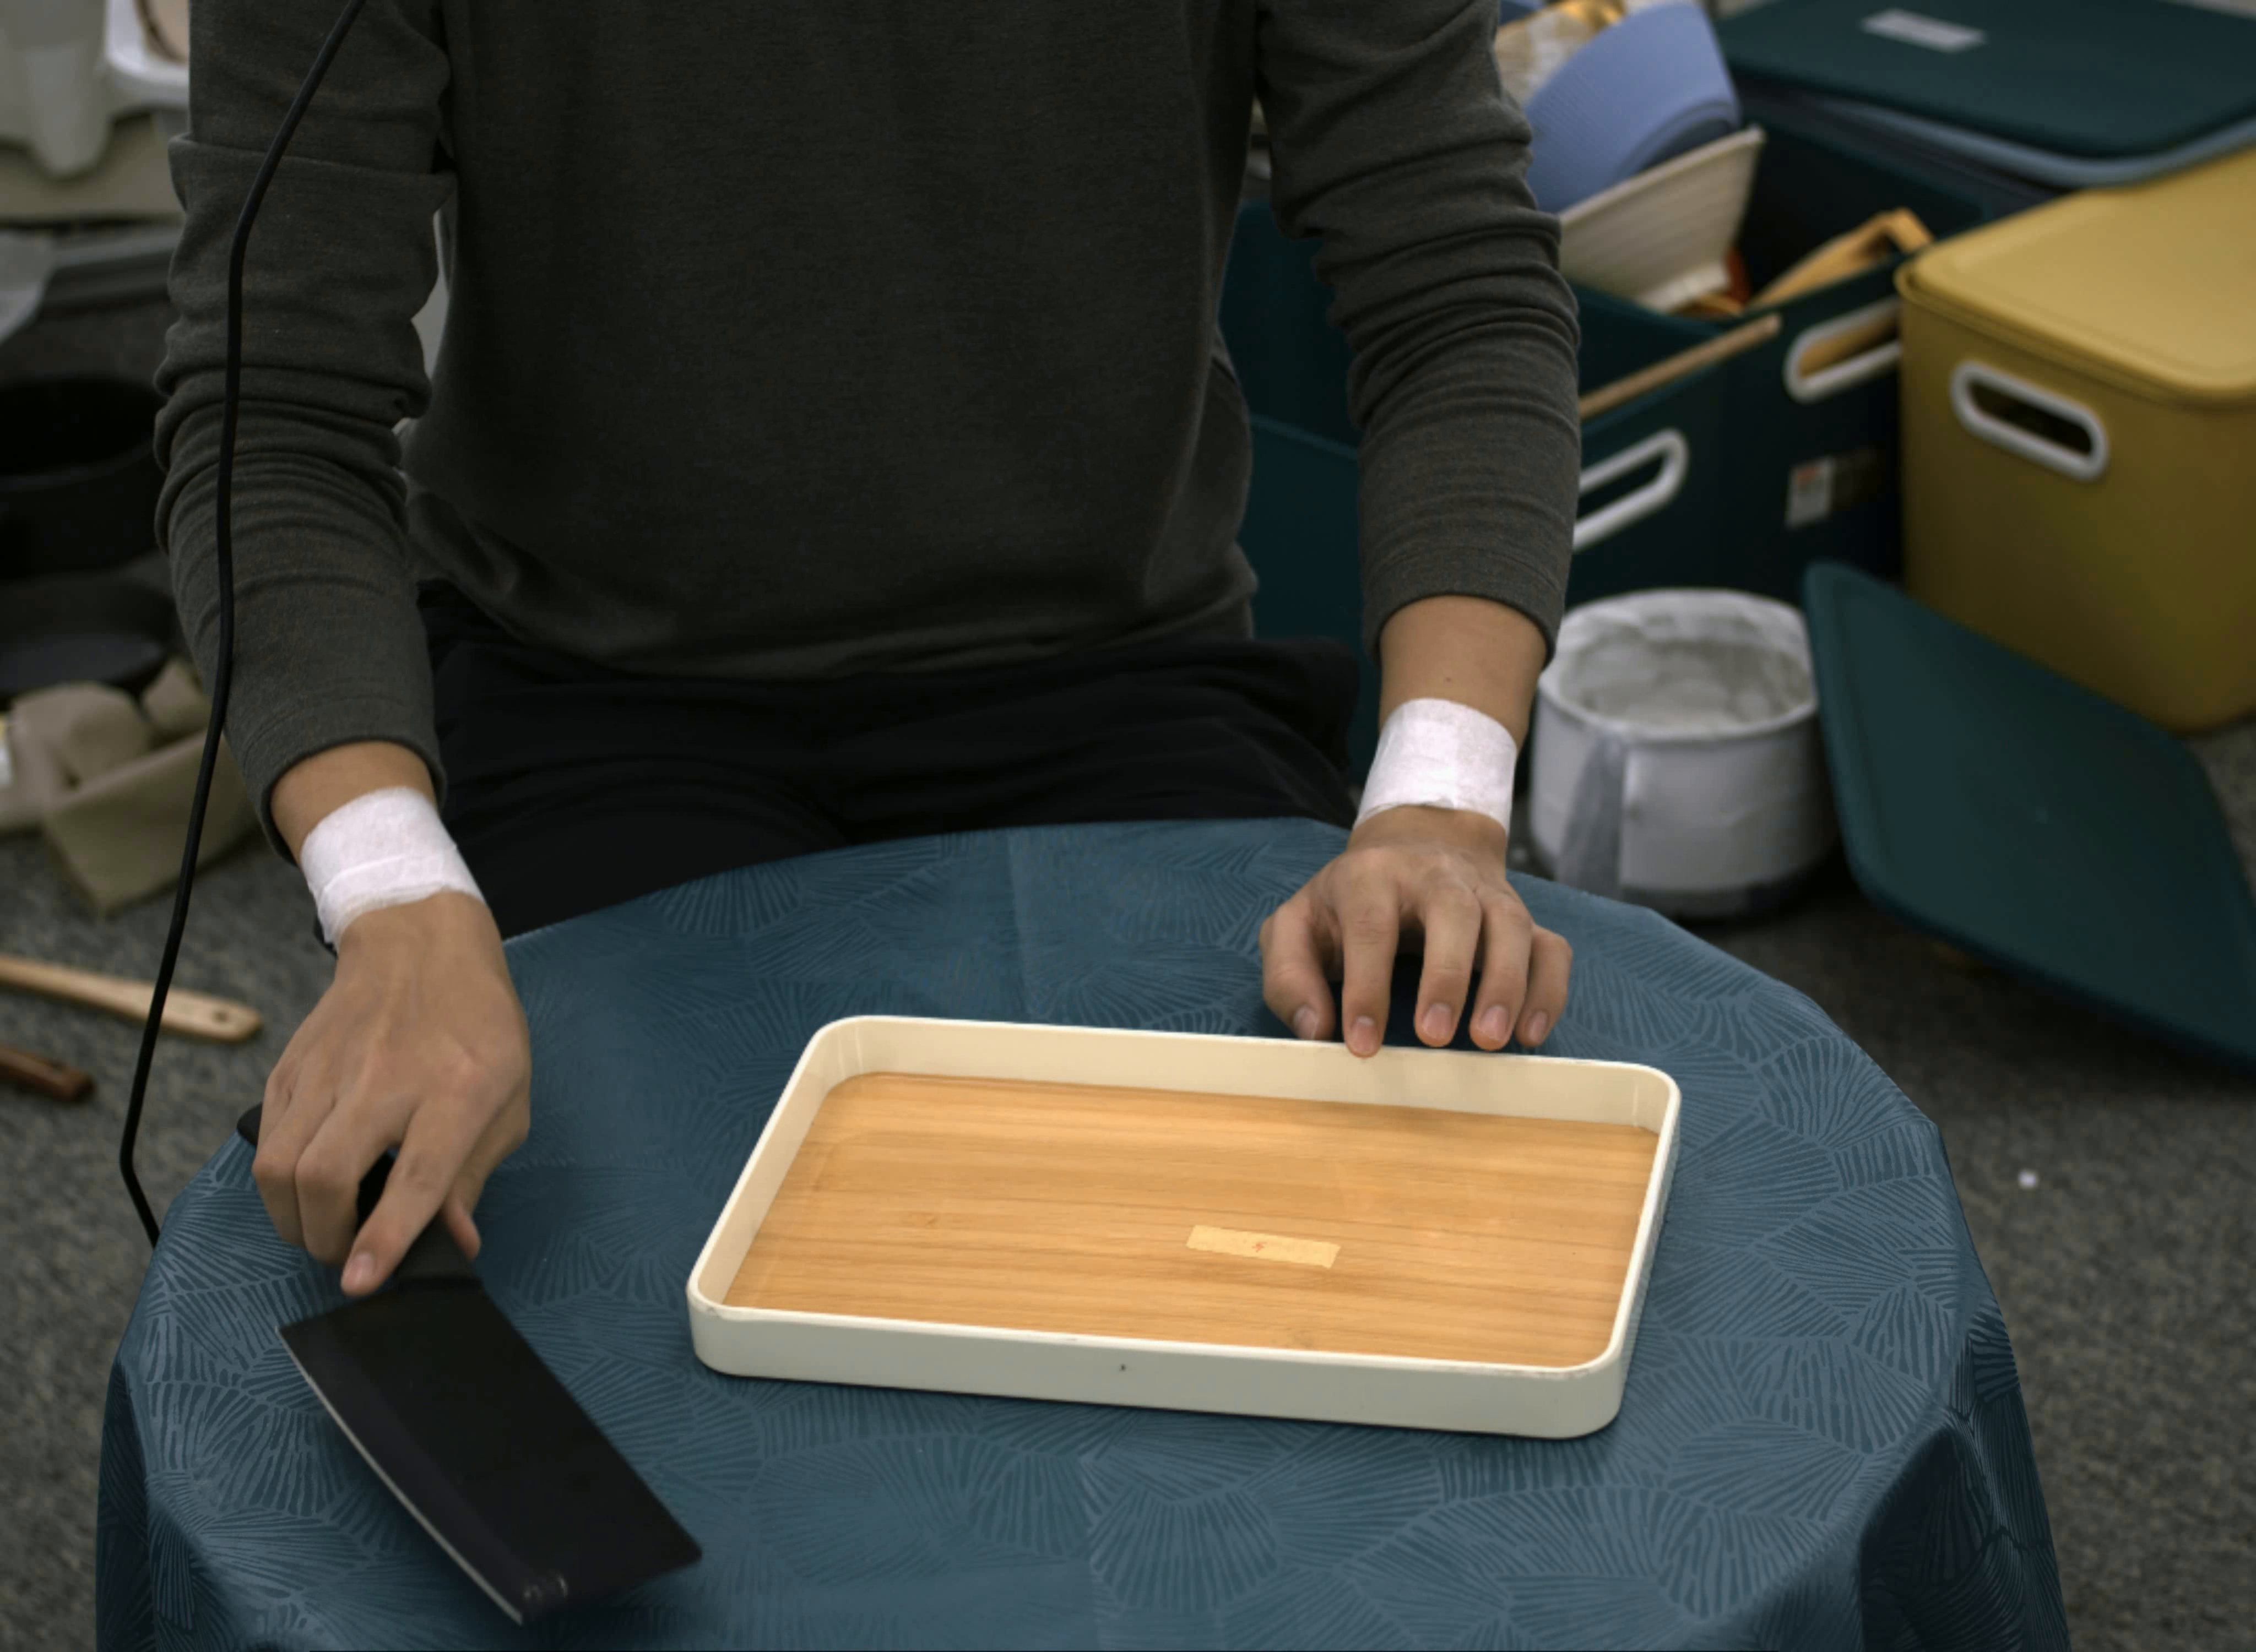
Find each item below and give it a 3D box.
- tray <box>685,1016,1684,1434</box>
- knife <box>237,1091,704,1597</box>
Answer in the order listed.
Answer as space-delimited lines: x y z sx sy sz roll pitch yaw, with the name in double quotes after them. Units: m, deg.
0.022 0.127 1.821 0.298 0.027 0.195 3 28 11 "tray"
-0.220 0.157 1.744 0.081 0.020 0.304 -13 29 -21 "knife"
